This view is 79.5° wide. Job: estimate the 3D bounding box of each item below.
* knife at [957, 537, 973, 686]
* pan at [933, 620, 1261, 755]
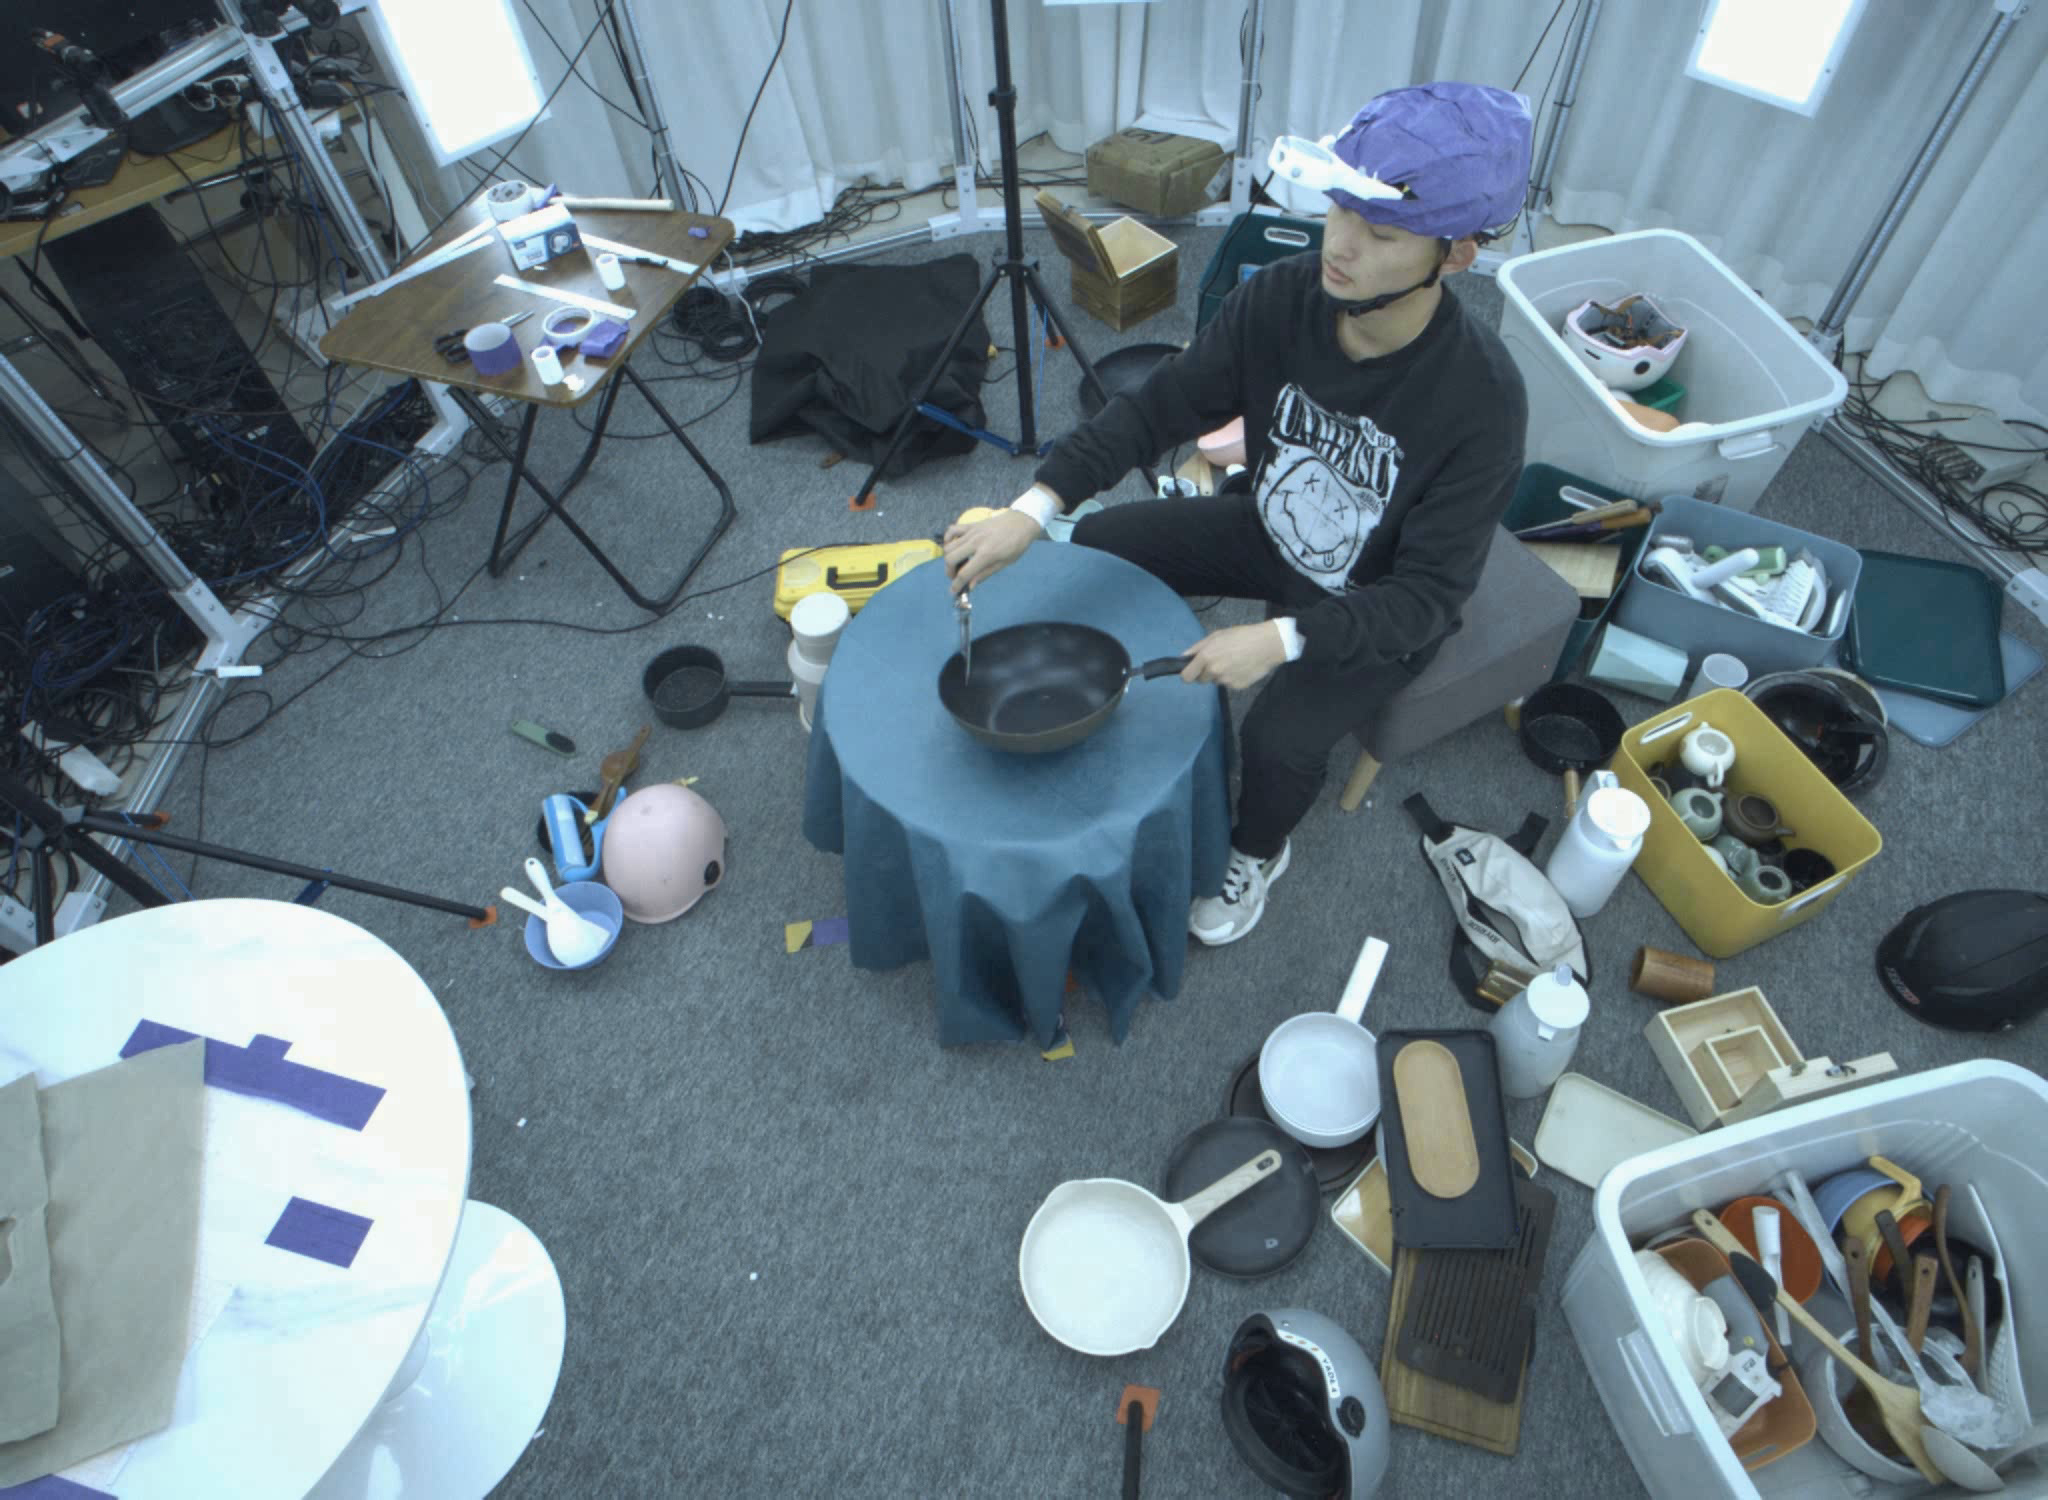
[{"bbox_3d":[-0.087,-0.205,1.805,0.026,0.017,0.225,-4,85,29],"label":"knife"},{"bbox_3d":[0.105,-0.085,1.761,0.462,0.088,0.285,-3,38,4],"label":"pan"}]
